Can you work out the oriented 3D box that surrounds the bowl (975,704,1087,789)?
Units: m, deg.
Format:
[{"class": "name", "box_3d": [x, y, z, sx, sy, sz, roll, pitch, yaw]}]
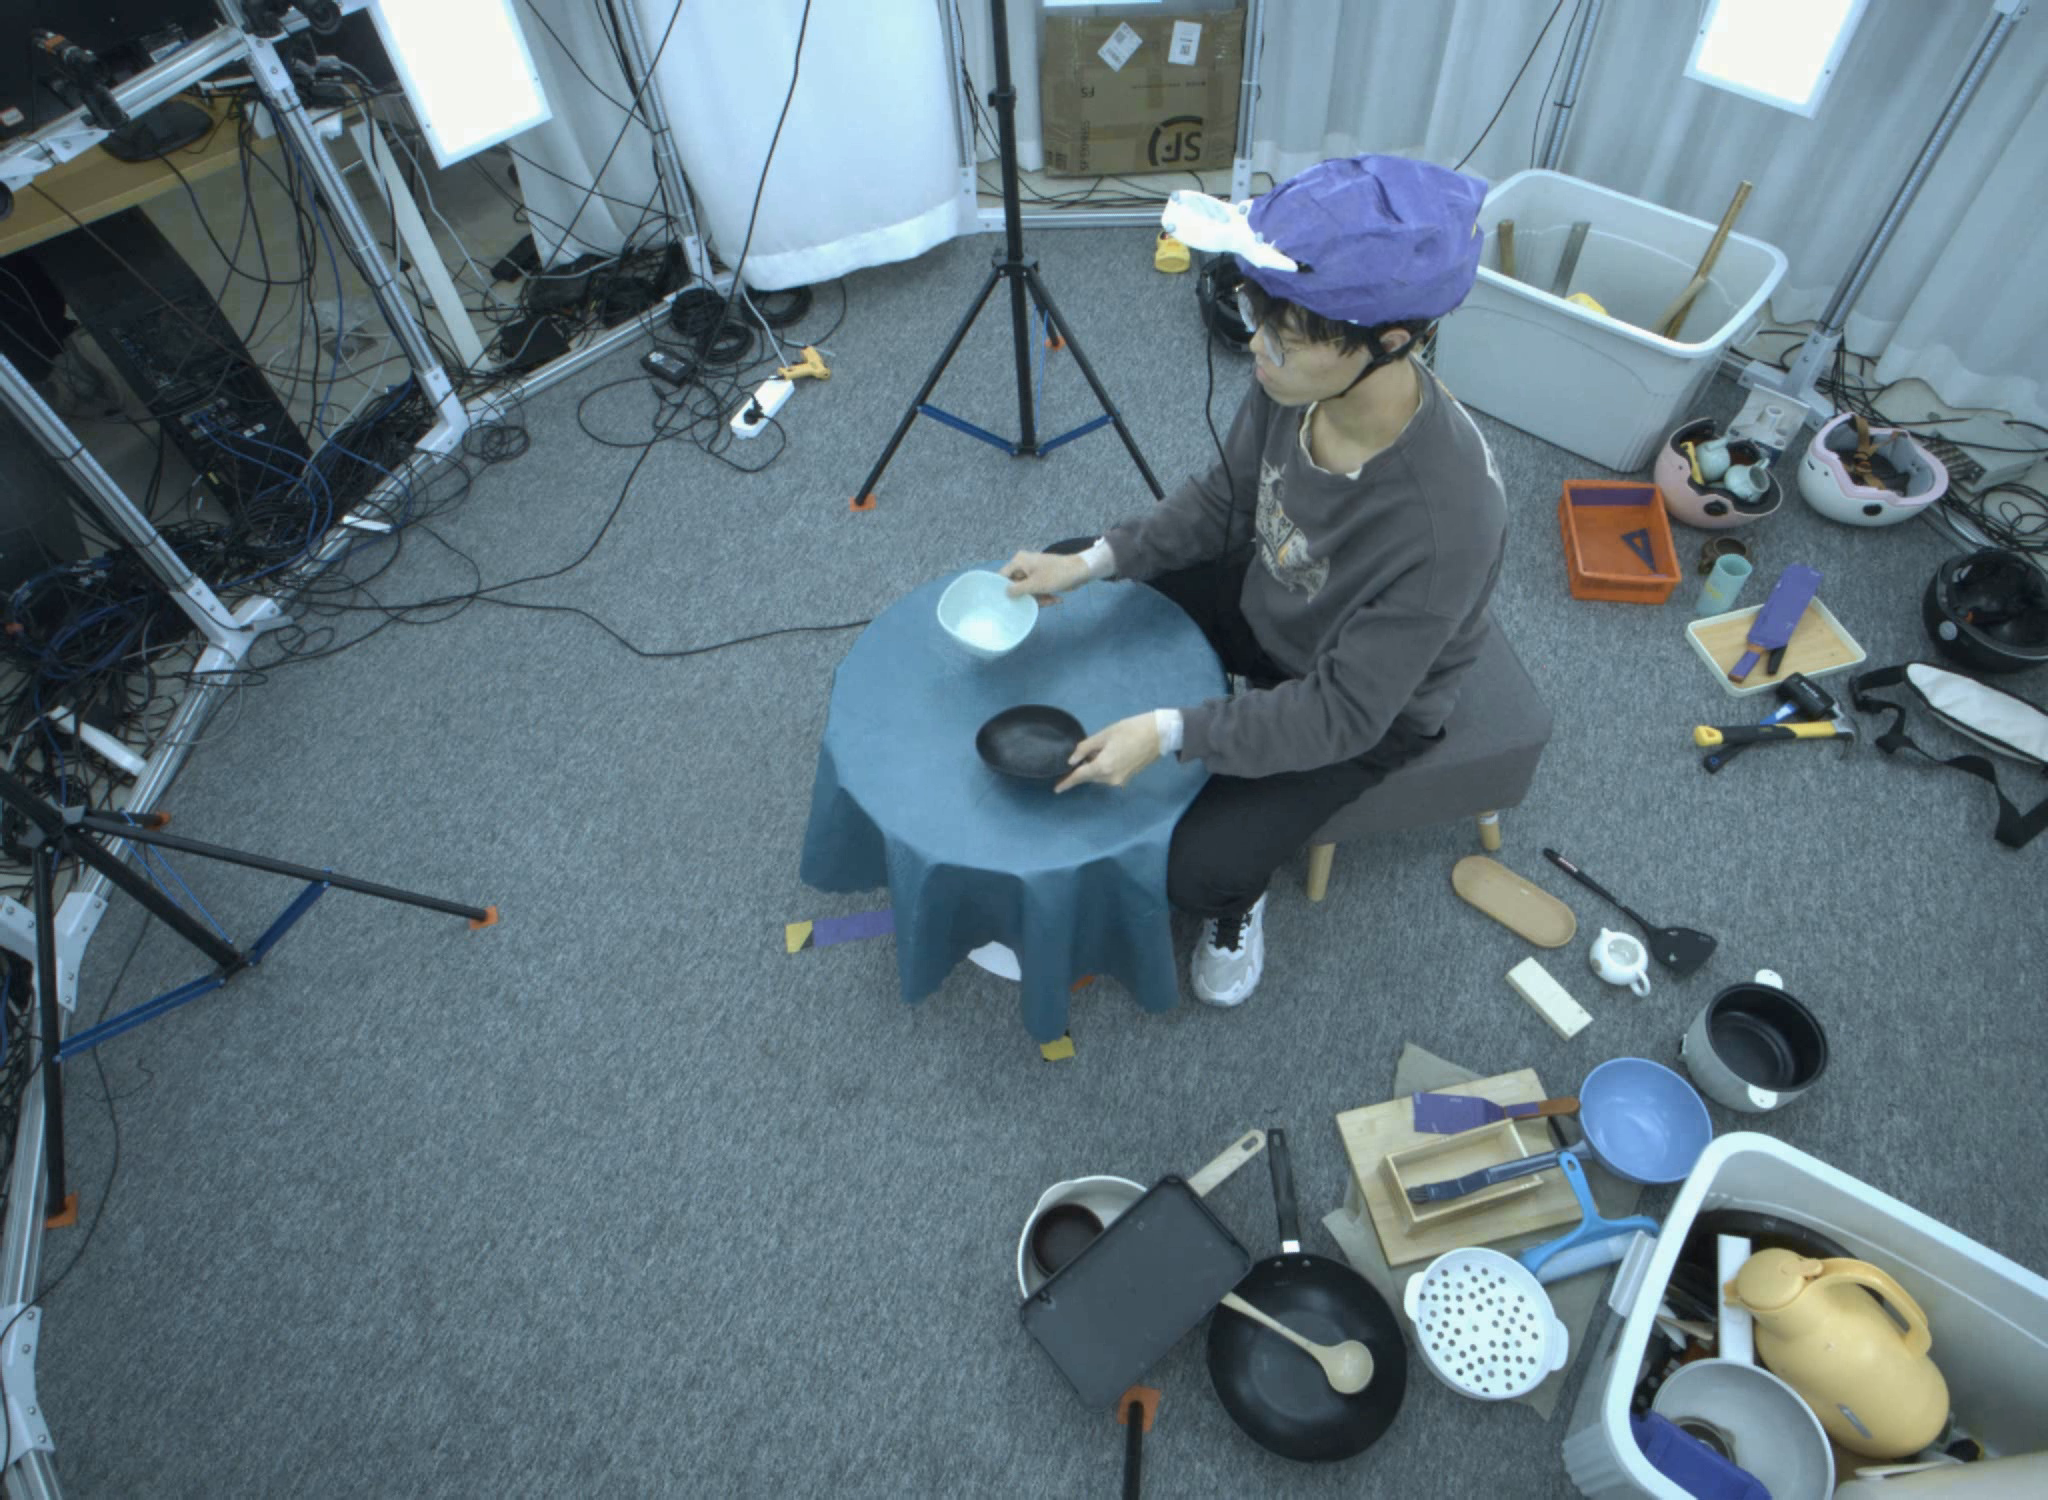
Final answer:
[{"class": "bowl", "box_3d": [0.011, 0.006, 1.736, 0.167, 0.067, 0.138, 19, 54, 25]}]

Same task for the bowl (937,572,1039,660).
[{"class": "bowl", "box_3d": [-0.055, -0.188, 1.817, 0.152, 0.059, 0.150, 4, 58, -6]}]
